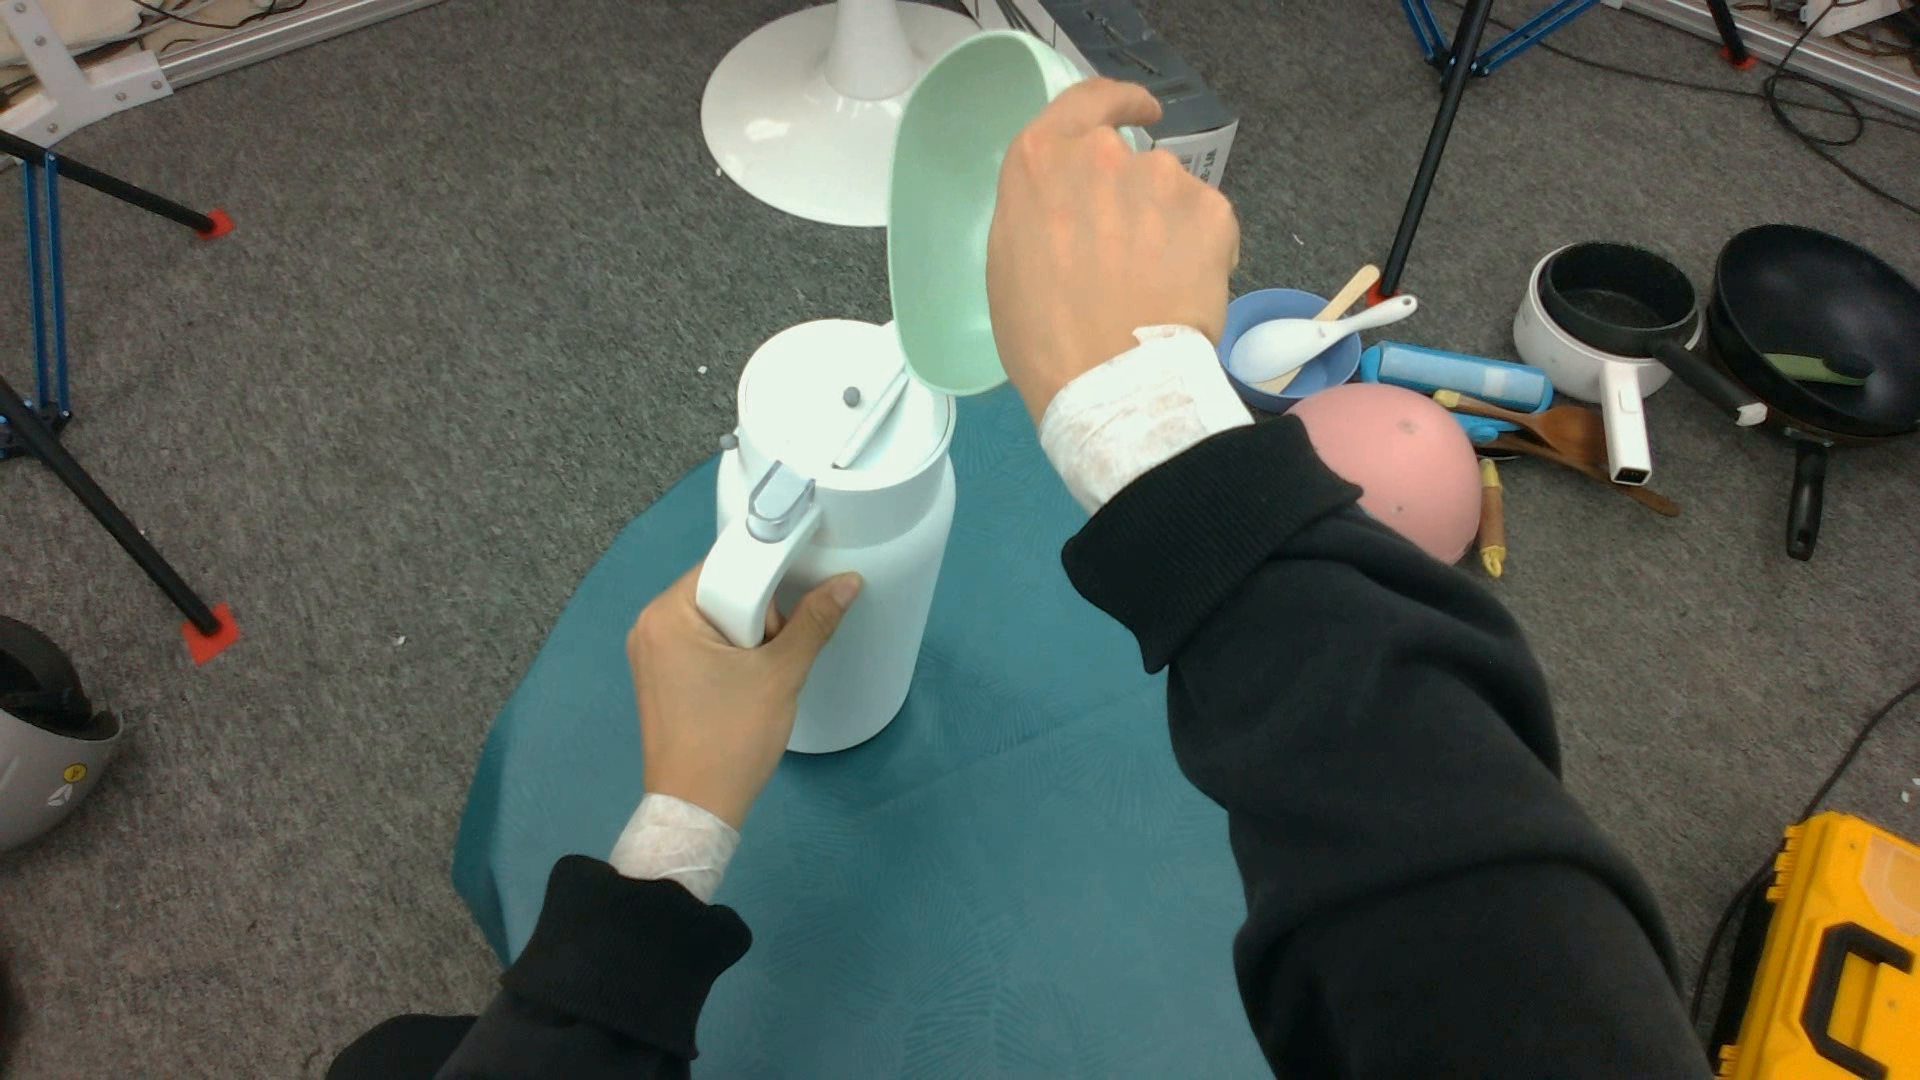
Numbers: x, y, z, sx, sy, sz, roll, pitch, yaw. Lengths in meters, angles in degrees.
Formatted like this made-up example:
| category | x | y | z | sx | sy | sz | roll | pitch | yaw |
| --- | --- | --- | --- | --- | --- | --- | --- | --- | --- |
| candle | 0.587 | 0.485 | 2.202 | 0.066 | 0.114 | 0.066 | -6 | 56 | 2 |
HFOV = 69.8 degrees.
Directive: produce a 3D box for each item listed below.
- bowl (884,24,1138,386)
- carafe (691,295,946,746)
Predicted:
| category | x | y | z | sx | sy | sz | roll | pitch | yaw |
| --- | --- | --- | --- | --- | --- | --- | --- | --- | --- |
| bowl | 0.025 | -0.133 | 0.563 | 0.059 | 0.150 | 0.152 | -5 | 53 | -30 |
| carafe | -0.081 | 0.016 | 0.715 | 0.124 | 0.267 | 0.173 | 27 | 56 | 5 |
